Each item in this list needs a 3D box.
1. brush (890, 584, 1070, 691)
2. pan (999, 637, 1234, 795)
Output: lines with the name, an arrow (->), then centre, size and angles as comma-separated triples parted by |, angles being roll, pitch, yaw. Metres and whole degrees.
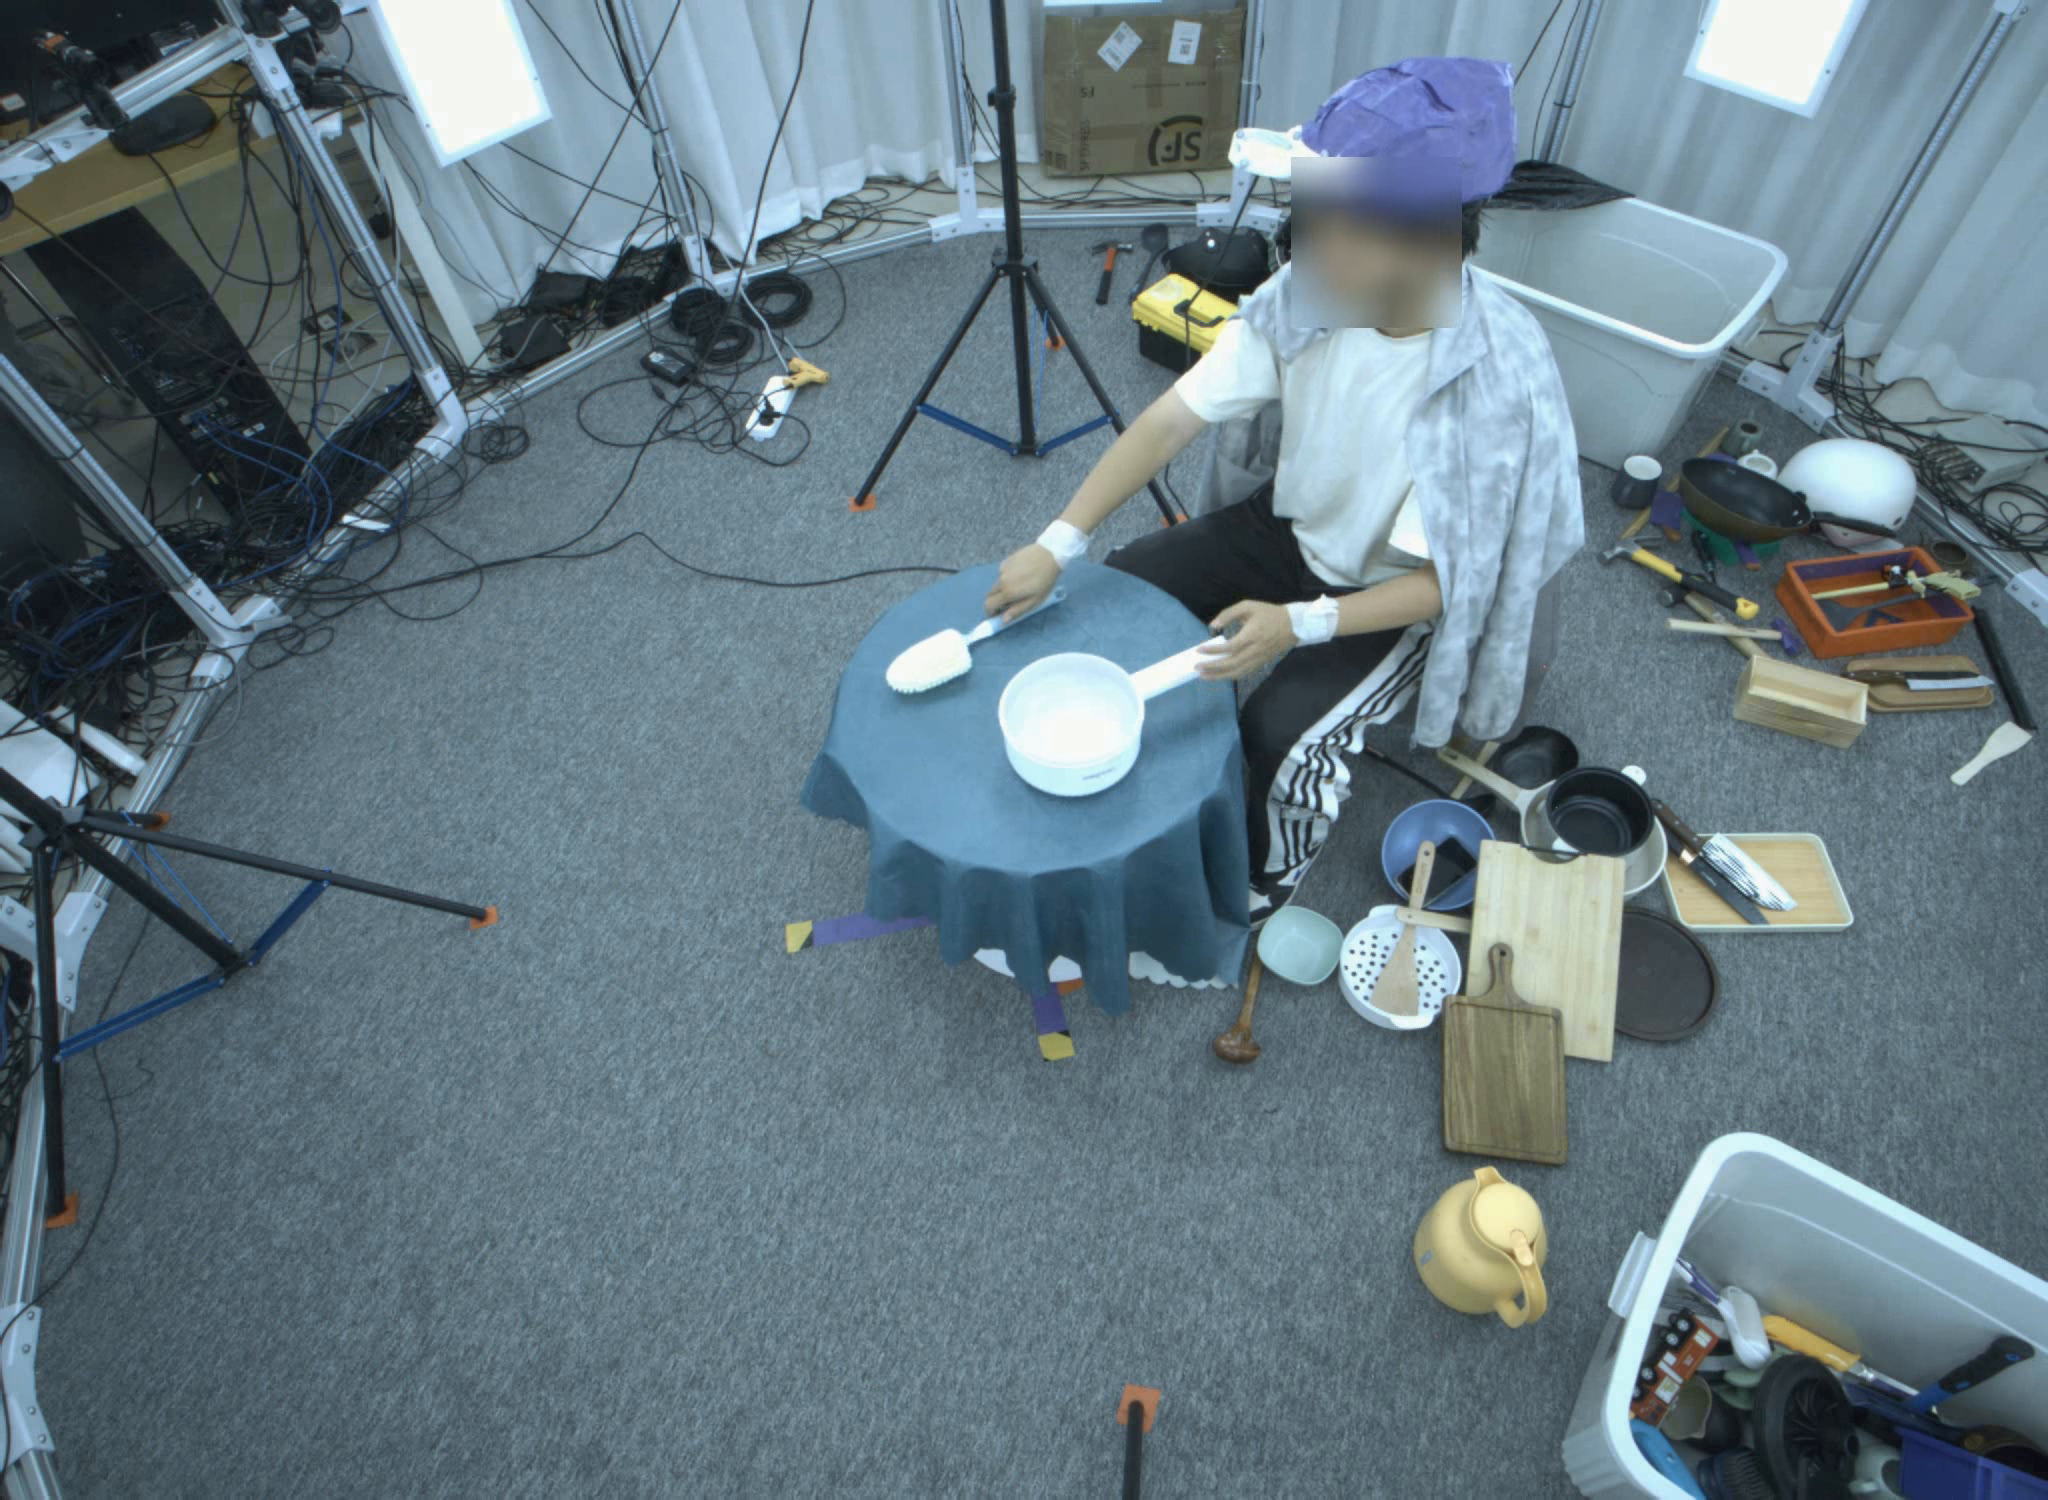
brush -> -0.059, -0.180, 1.871 | 0.328, 0.084, 0.083 | -28, 58, -17
pan -> 0.136, -0.061, 1.767 | 0.357, 0.103, 0.197 | -23, 57, -14
